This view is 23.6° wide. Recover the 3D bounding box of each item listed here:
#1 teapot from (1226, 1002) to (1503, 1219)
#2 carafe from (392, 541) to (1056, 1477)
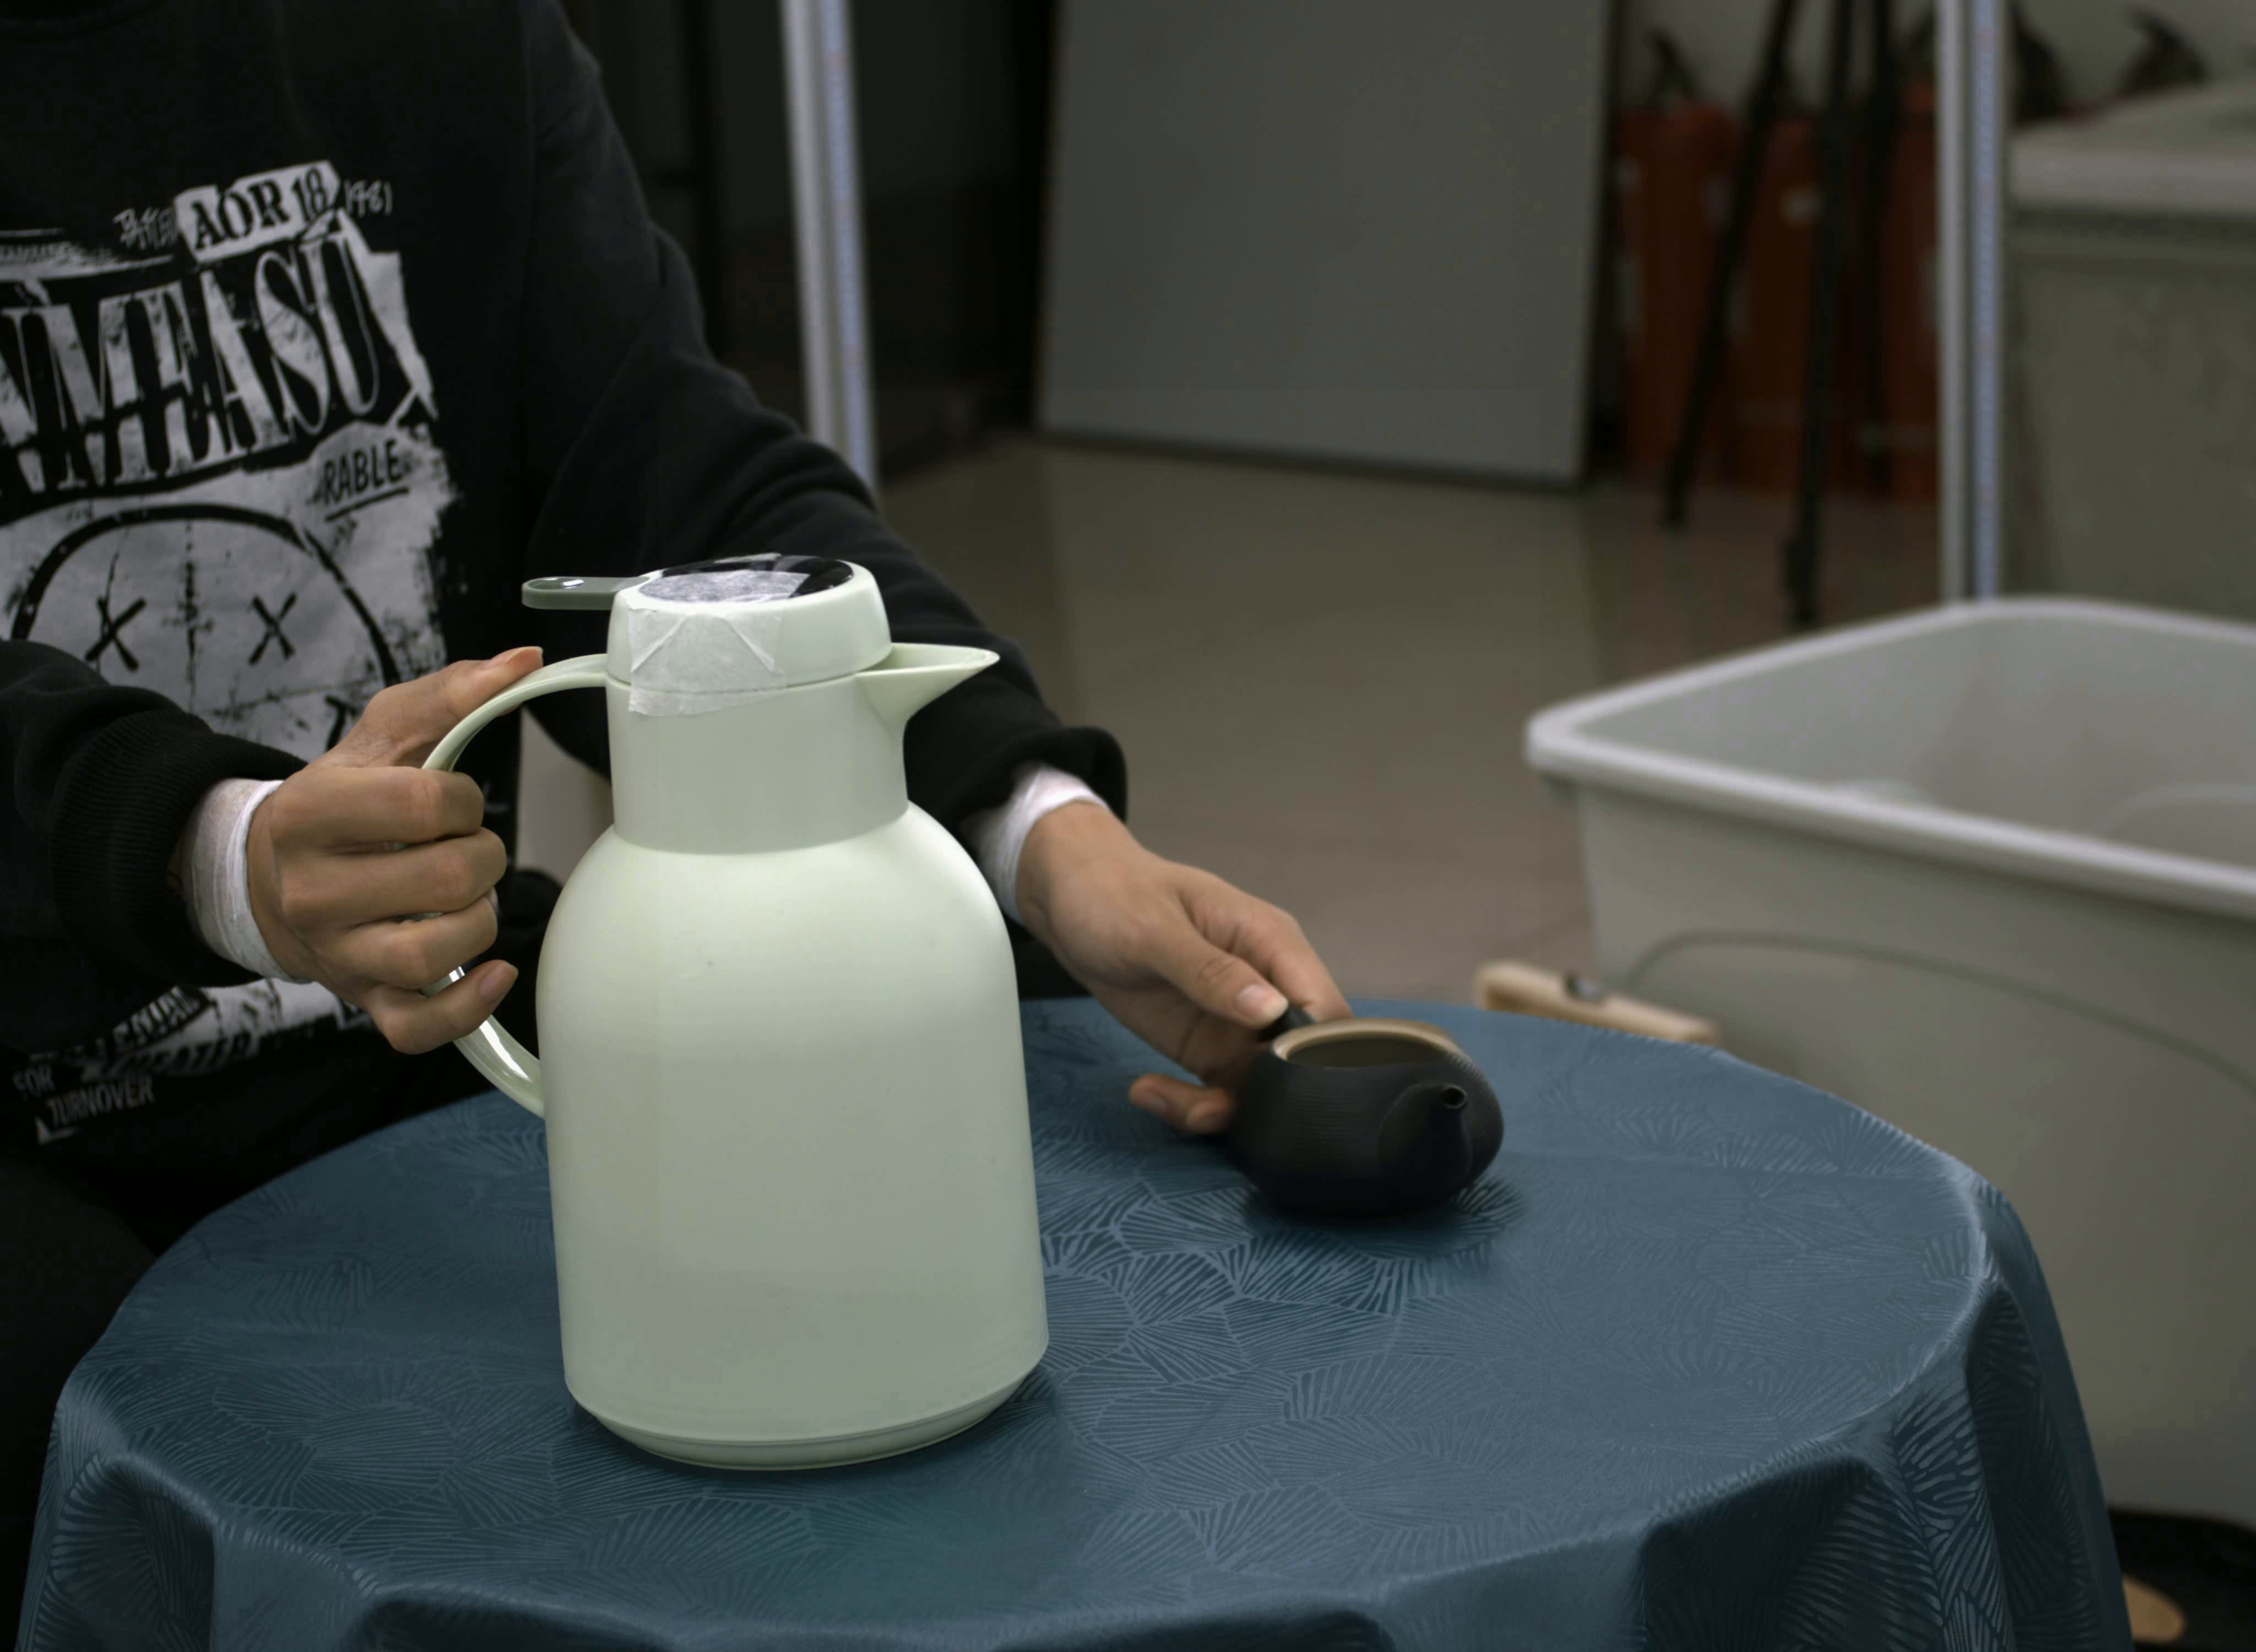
[{"bbox_3d":[0.076,0.094,1.746,0.089,0.053,0.134,-9,15,-23],"label":"teapot"},{"bbox_3d":[-0.116,0.049,1.576,0.186,0.259,0.143,-5,14,13],"label":"carafe"}]
